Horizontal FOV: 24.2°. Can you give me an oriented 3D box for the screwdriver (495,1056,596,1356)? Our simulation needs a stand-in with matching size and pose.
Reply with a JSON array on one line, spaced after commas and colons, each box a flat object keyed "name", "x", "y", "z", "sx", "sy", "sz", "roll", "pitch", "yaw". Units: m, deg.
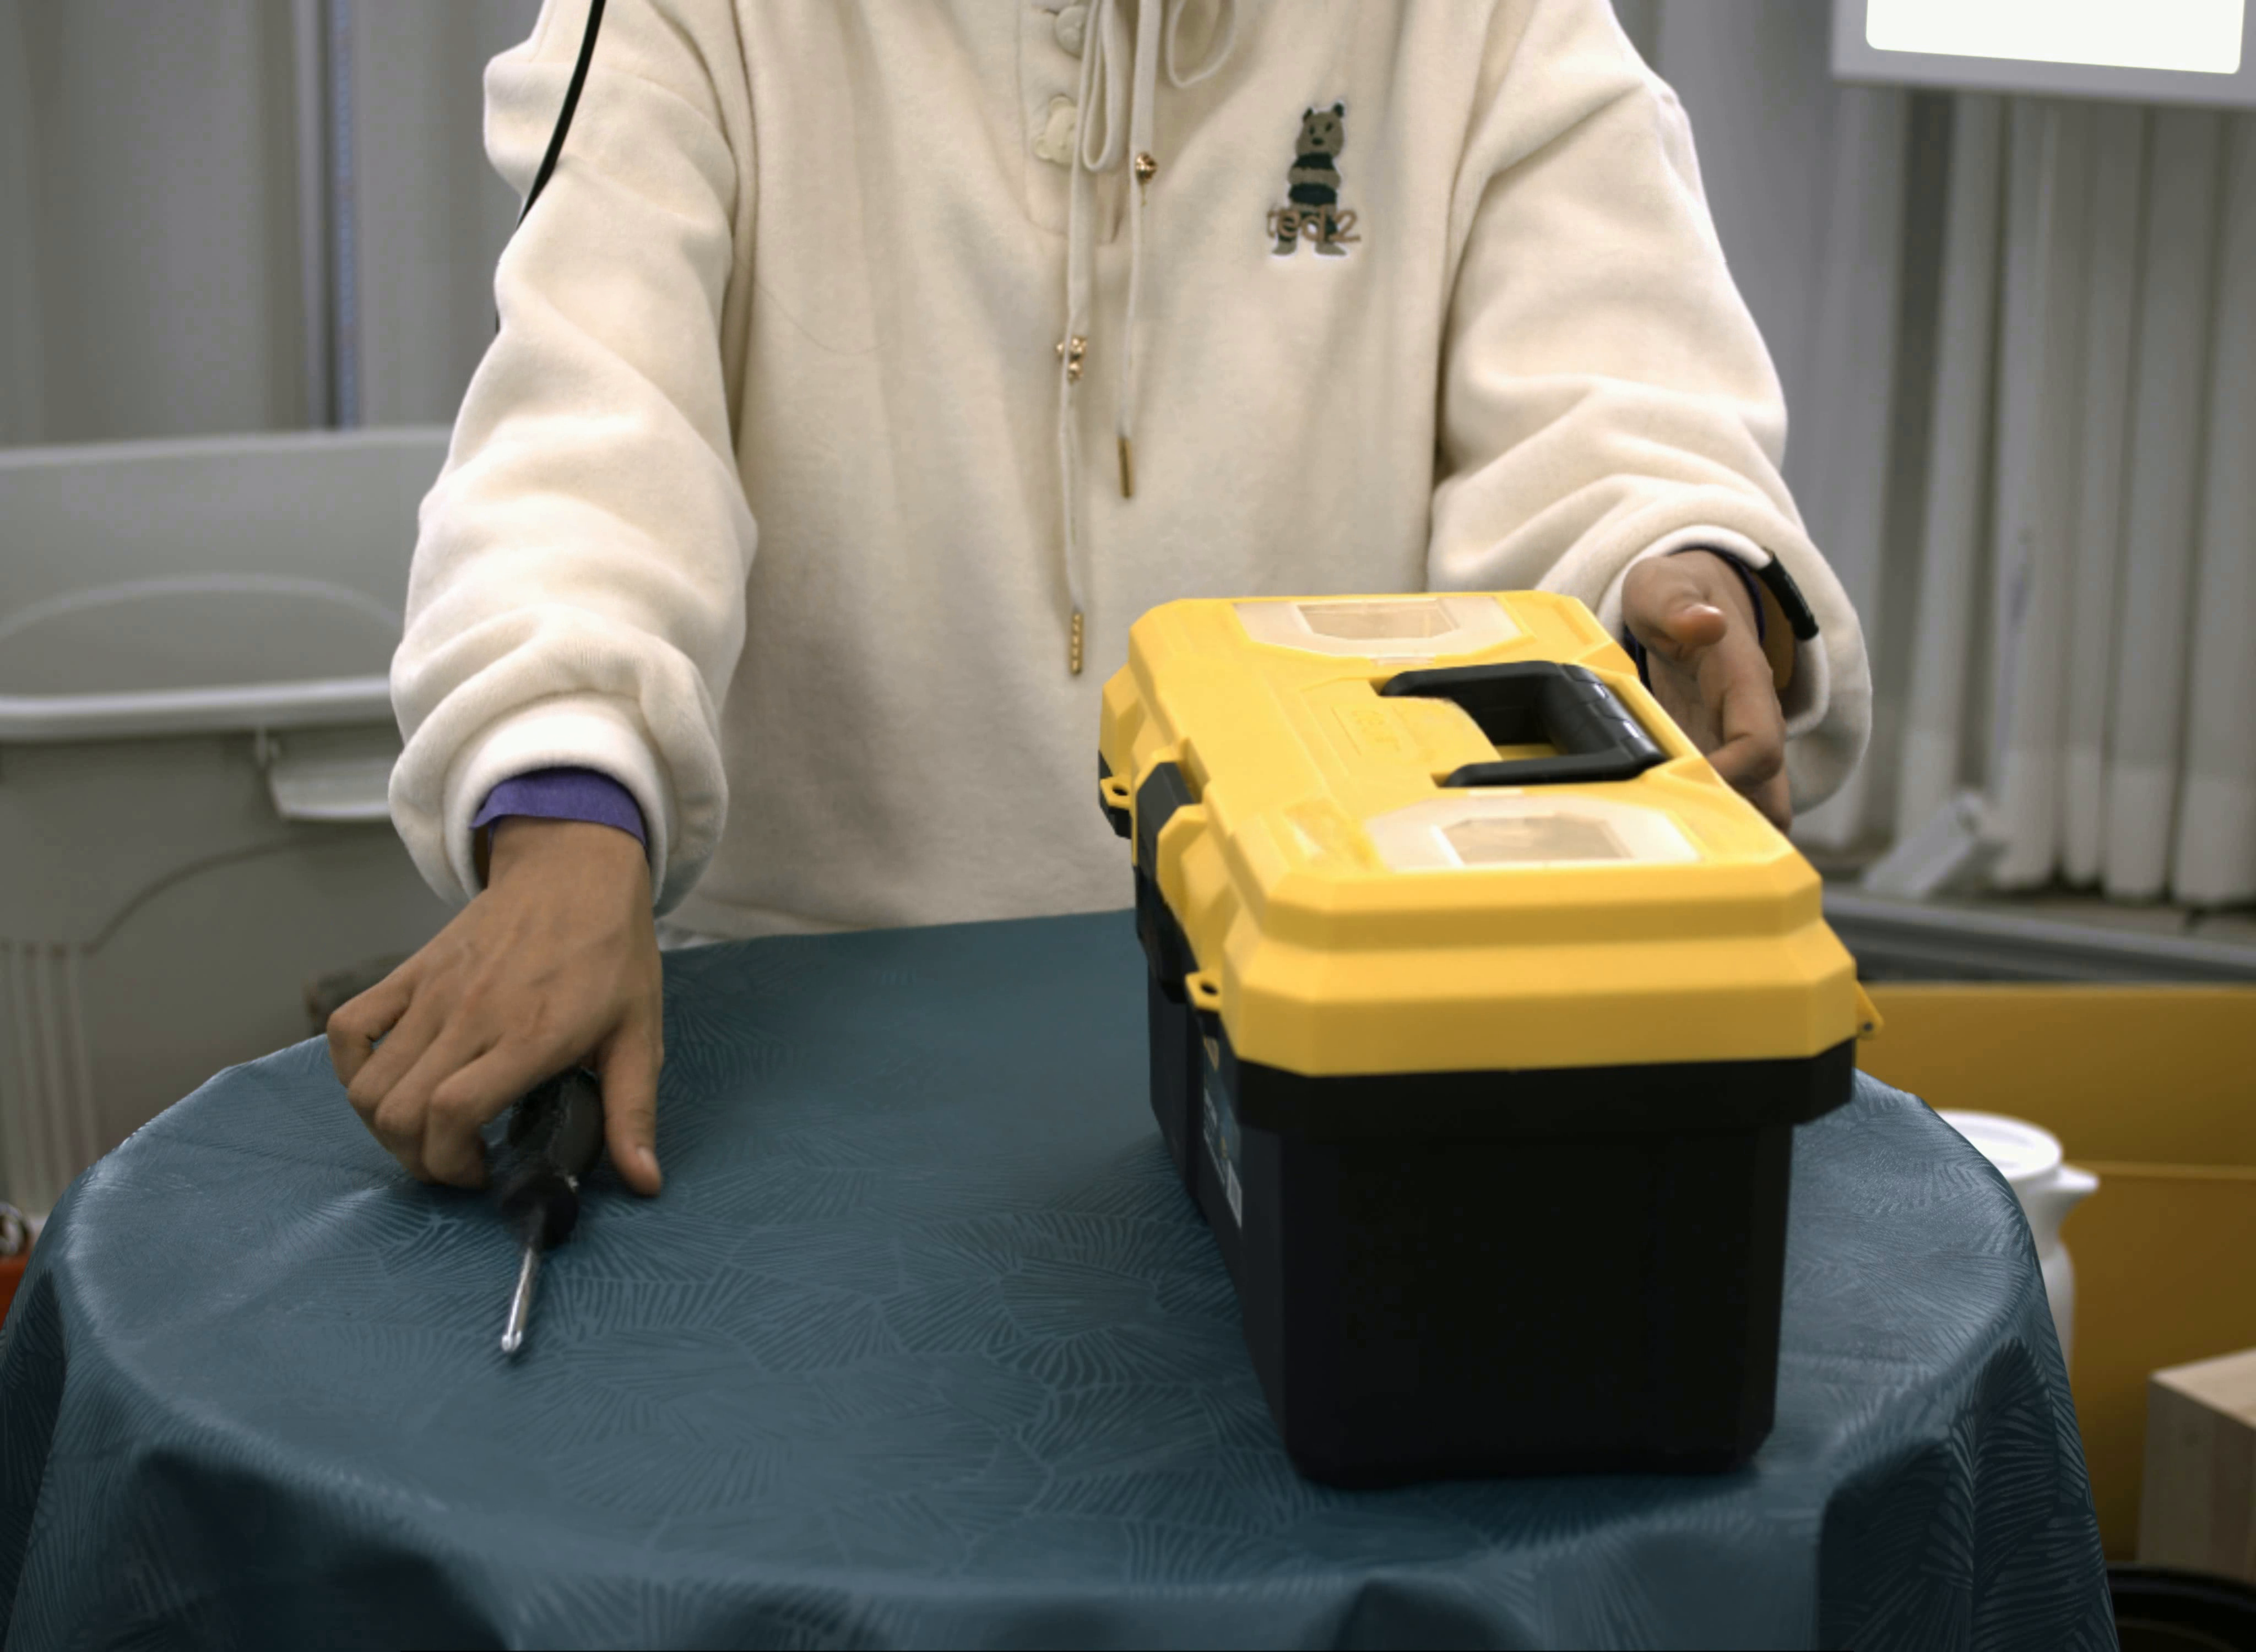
[{"name": "screwdriver", "x": -0.178, "y": 0.111, "z": 1.561, "sx": 0.031, "sy": 0.032, "sz": 0.195, "roll": 0, "pitch": 17, "yaw": -1}]

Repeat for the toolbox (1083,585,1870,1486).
[{"name": "toolbox", "x": 0.091, "y": 0.050, "z": 1.520, "sx": 0.181, "sy": 0.174, "sz": 0.349, "roll": -2, "pitch": 16, "yaw": -6}]
